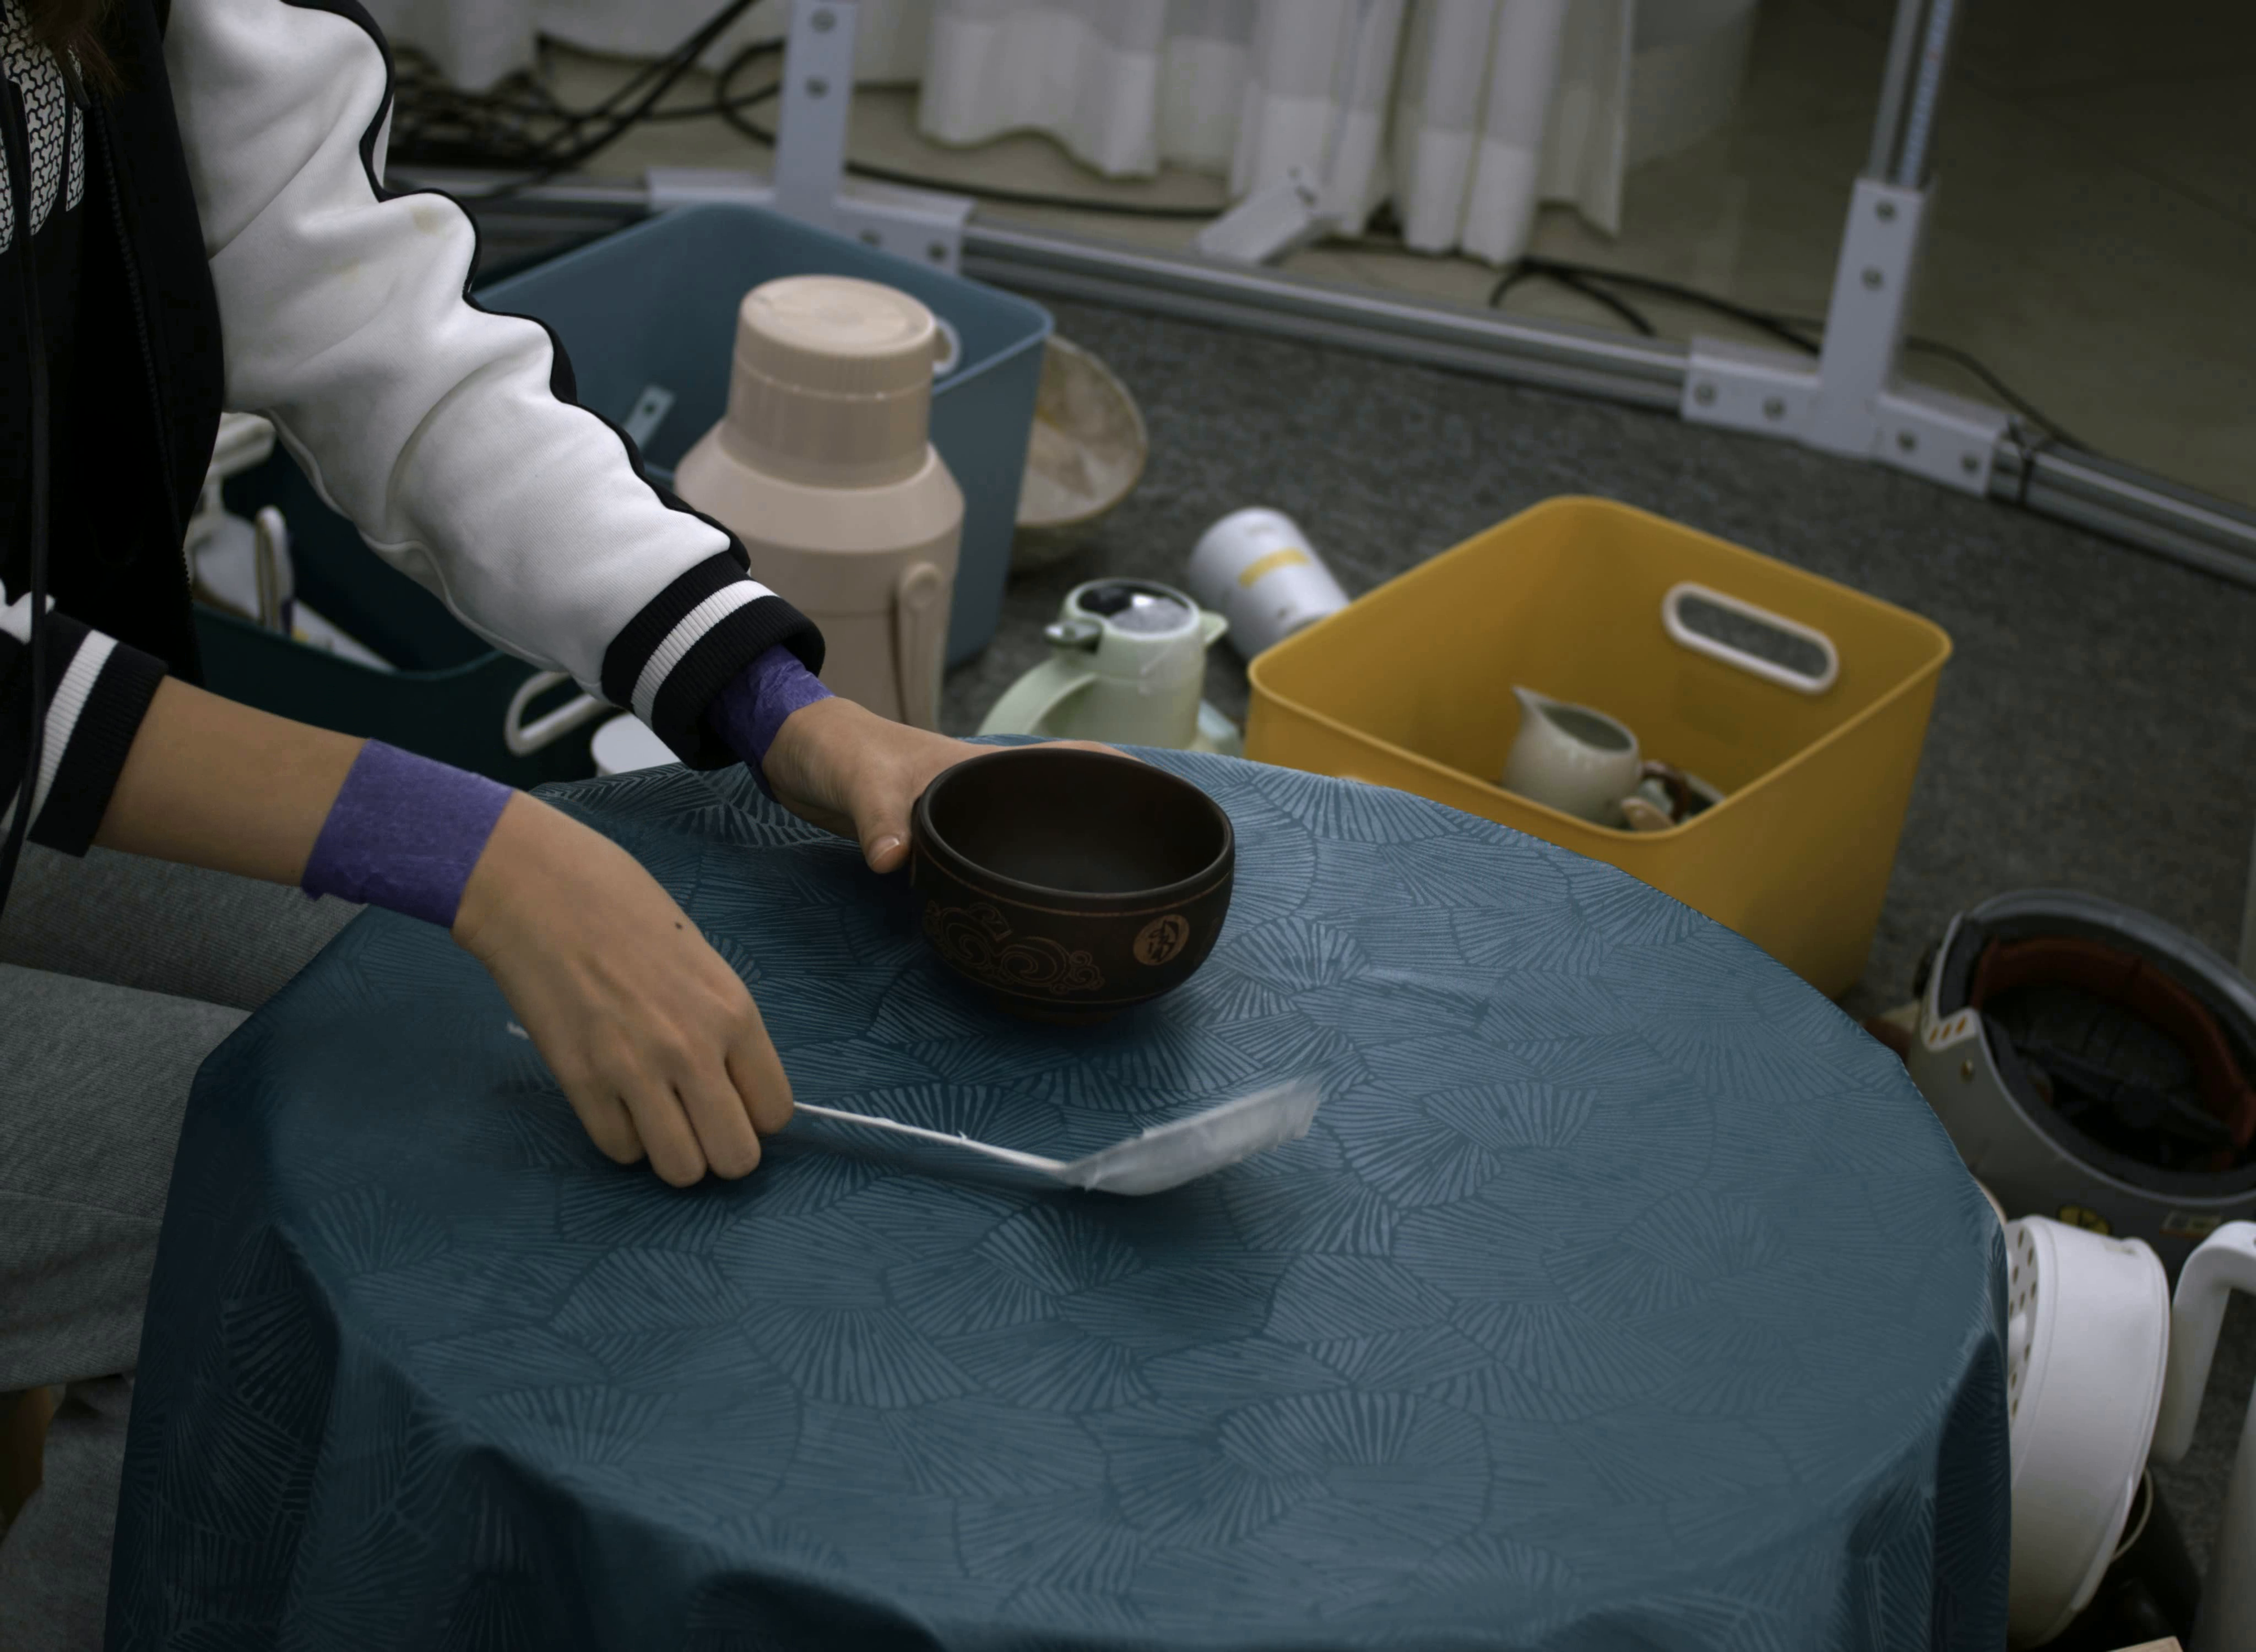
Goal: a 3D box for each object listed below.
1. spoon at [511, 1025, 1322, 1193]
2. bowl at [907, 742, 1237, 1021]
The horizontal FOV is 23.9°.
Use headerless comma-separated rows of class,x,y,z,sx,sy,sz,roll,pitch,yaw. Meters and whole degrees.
spoon,-0.073,0.078,1.809,0.277,0.059,0.100,13,-8,13
bowl,-0.022,0.026,1.907,0.117,0.069,0.119,6,27,-3
